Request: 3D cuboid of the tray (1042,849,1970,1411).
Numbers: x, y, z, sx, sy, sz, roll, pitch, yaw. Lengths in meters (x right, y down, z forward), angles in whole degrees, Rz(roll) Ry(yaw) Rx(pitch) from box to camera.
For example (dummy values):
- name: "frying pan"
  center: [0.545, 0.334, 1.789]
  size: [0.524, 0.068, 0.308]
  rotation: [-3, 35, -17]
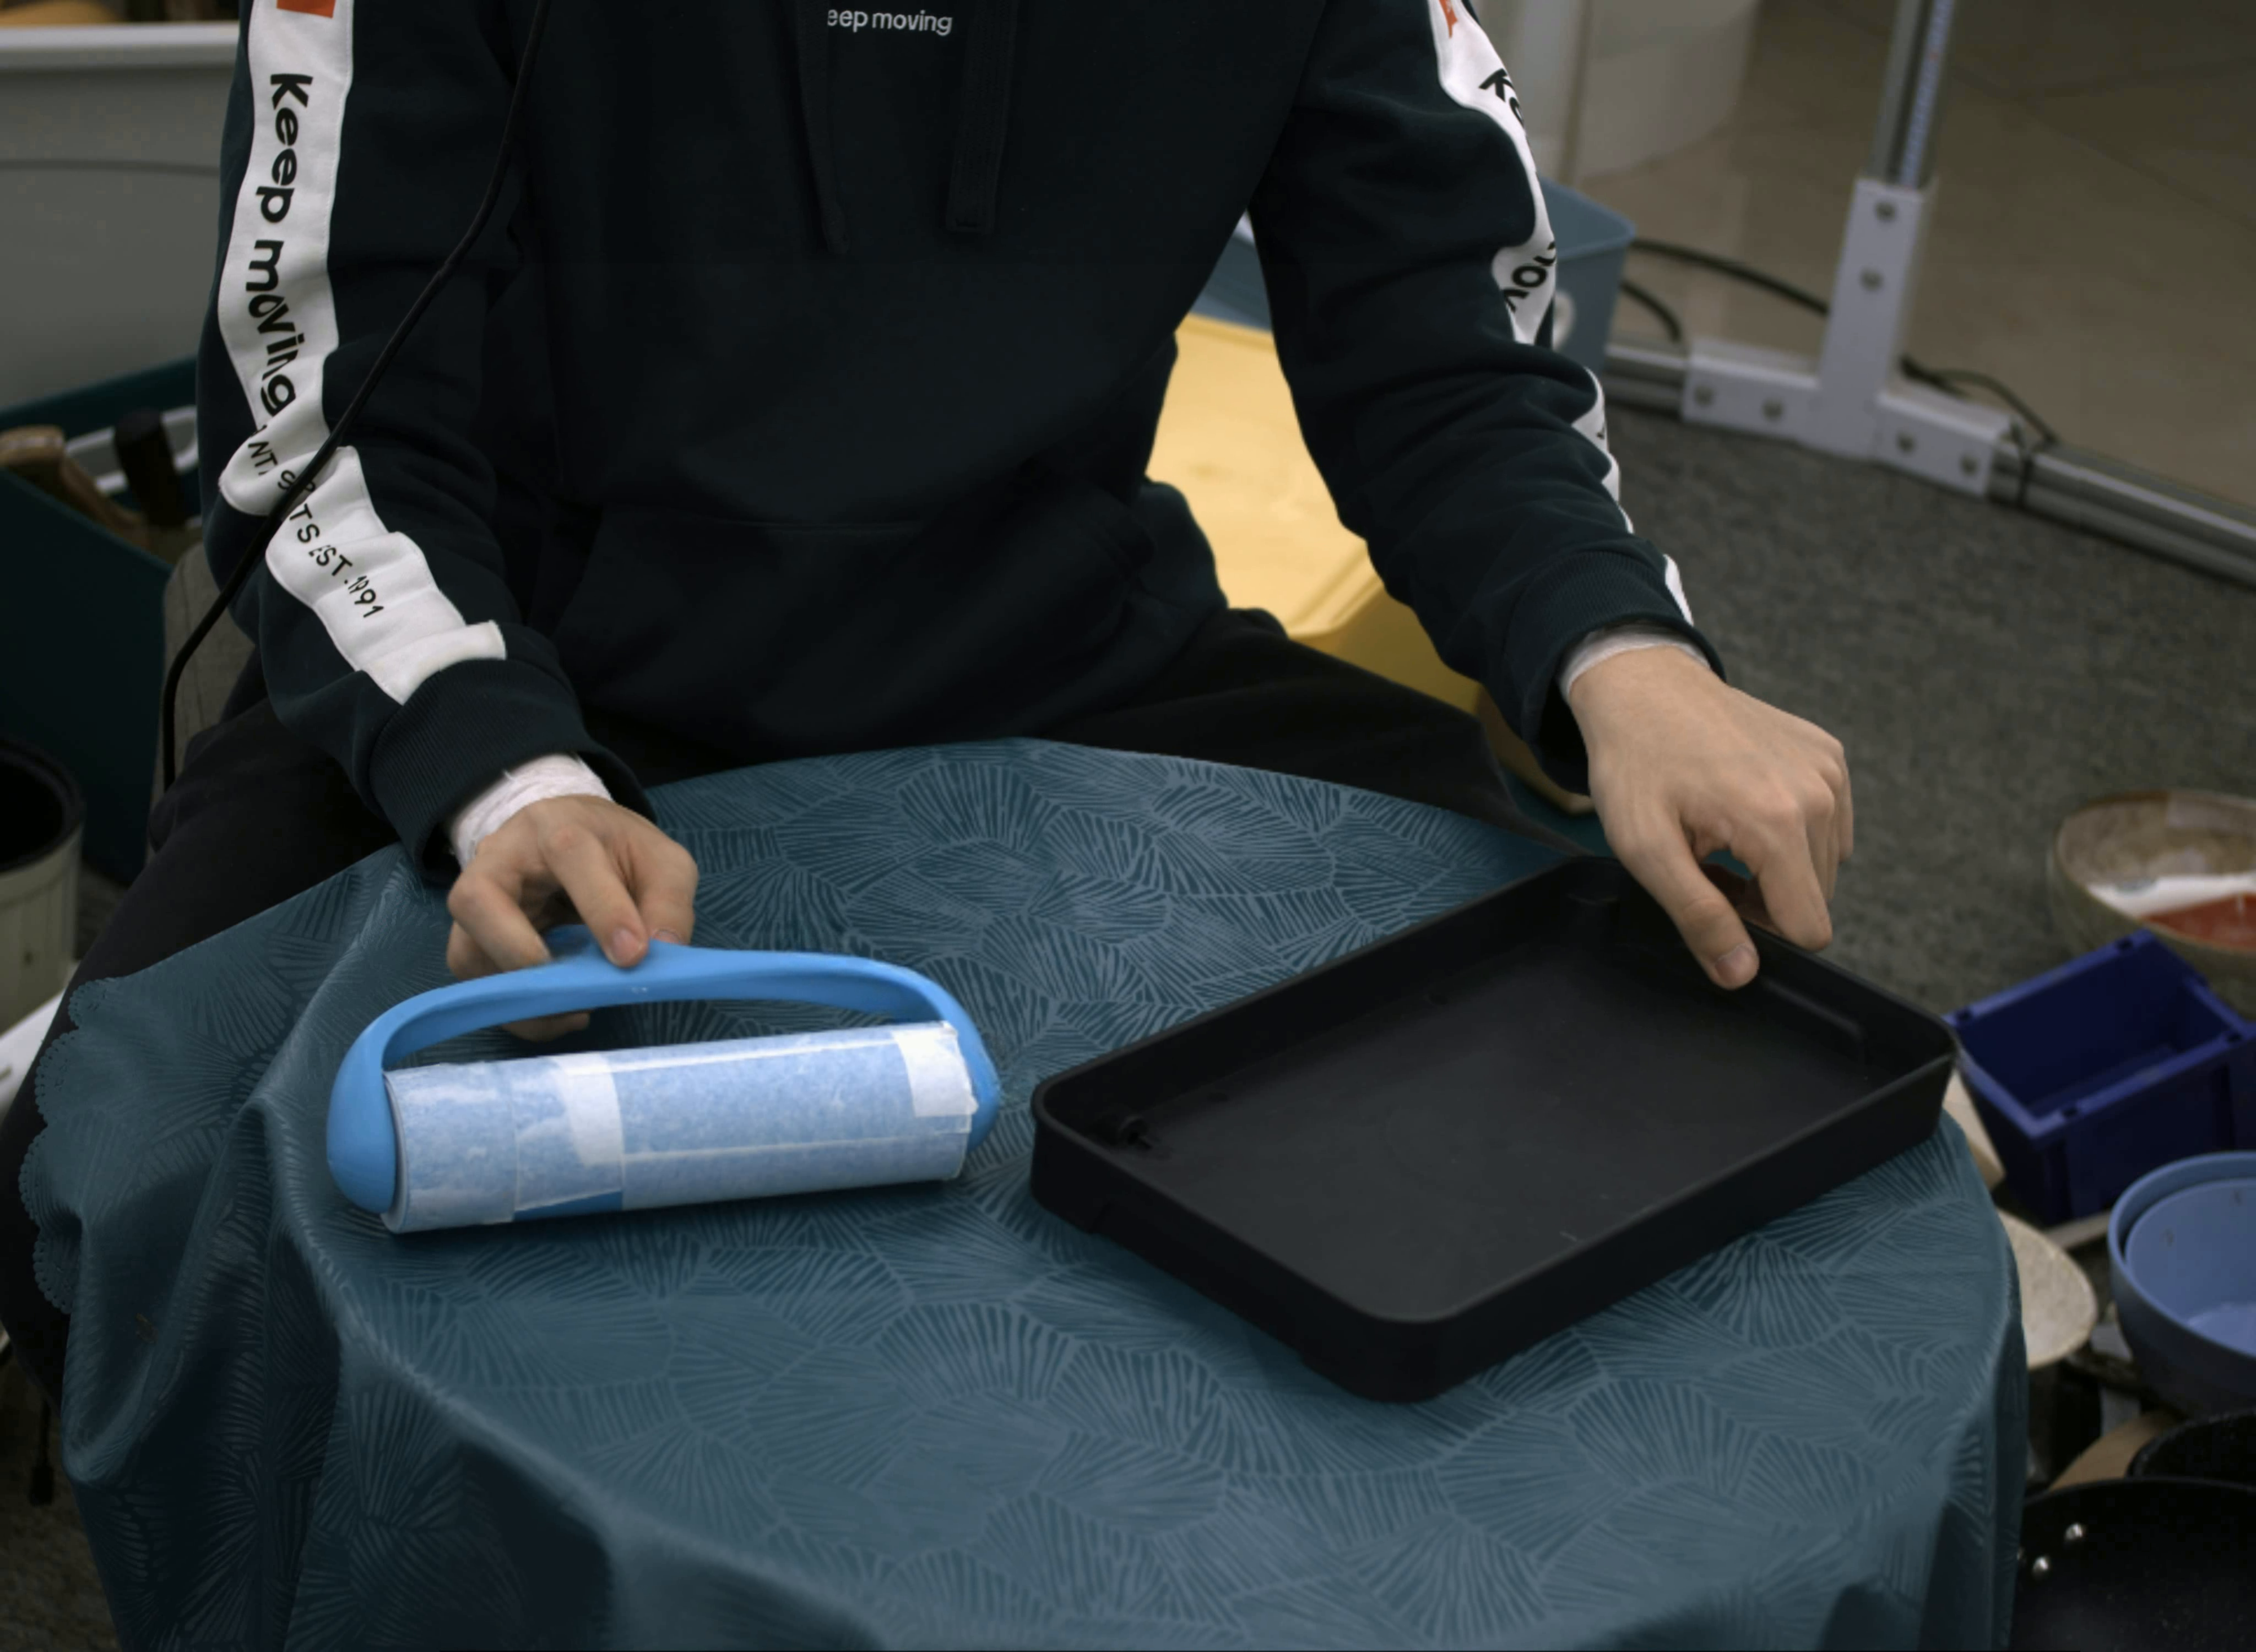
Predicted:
- name: "tray"
  center: [0.133, 0.098, 1.841]
  size: [0.185, 0.037, 0.316]
  rotation: [27, 34, 35]

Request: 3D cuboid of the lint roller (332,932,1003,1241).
- name: "lint roller"
  center: [-0.172, 0.071, 1.801]
  size: [0.227, 0.067, 0.182]
  rotation: [-7, 31, -22]
